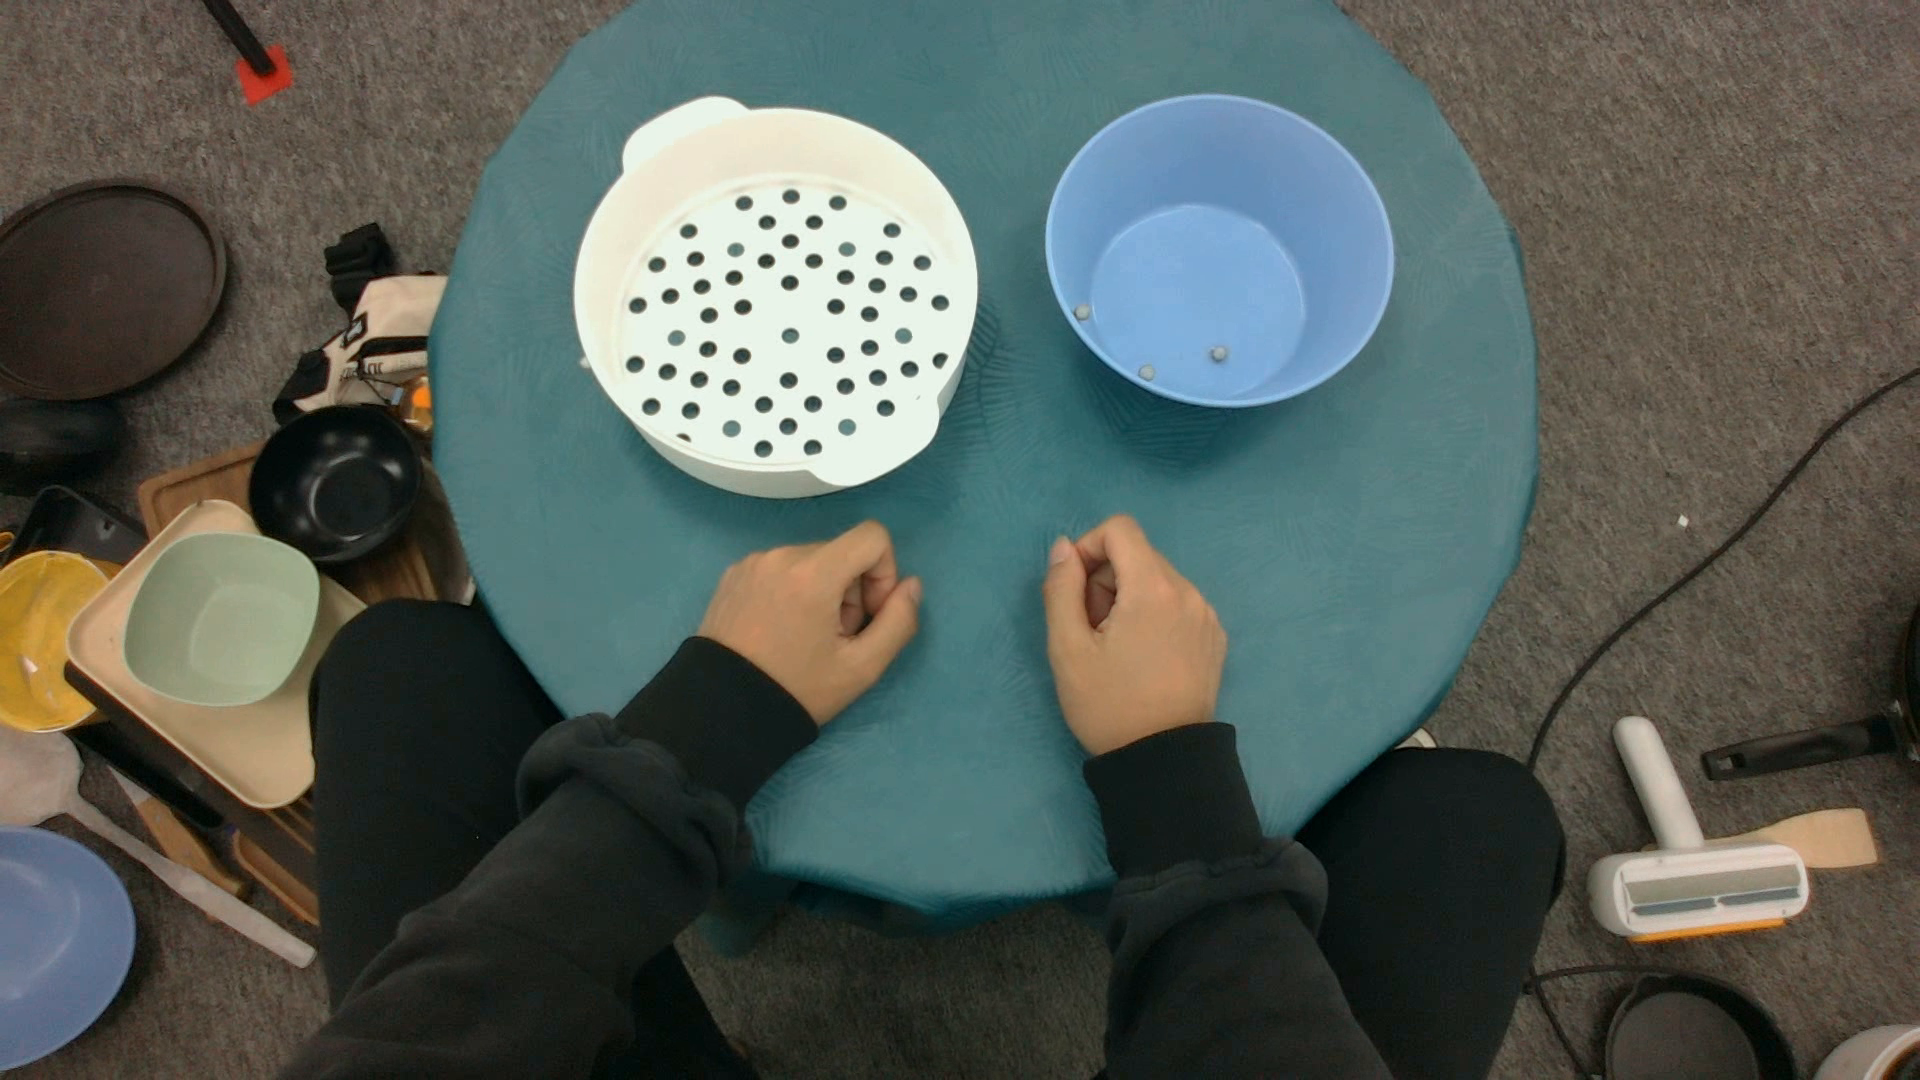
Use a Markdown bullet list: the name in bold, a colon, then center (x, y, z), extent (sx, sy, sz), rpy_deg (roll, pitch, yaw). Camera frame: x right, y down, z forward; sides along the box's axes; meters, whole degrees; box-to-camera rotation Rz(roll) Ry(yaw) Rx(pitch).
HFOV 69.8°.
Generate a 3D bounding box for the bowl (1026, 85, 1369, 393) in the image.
- **bowl**: center (0.121, -0.147, 0.731), extent (0.176, 0.070, 0.176), rpy_deg (0, 73, -1)

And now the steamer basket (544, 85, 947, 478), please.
- **steamer basket**: center (-0.108, -0.130, 0.717), extent (0.202, 0.069, 0.231), rpy_deg (-31, 74, -11)
